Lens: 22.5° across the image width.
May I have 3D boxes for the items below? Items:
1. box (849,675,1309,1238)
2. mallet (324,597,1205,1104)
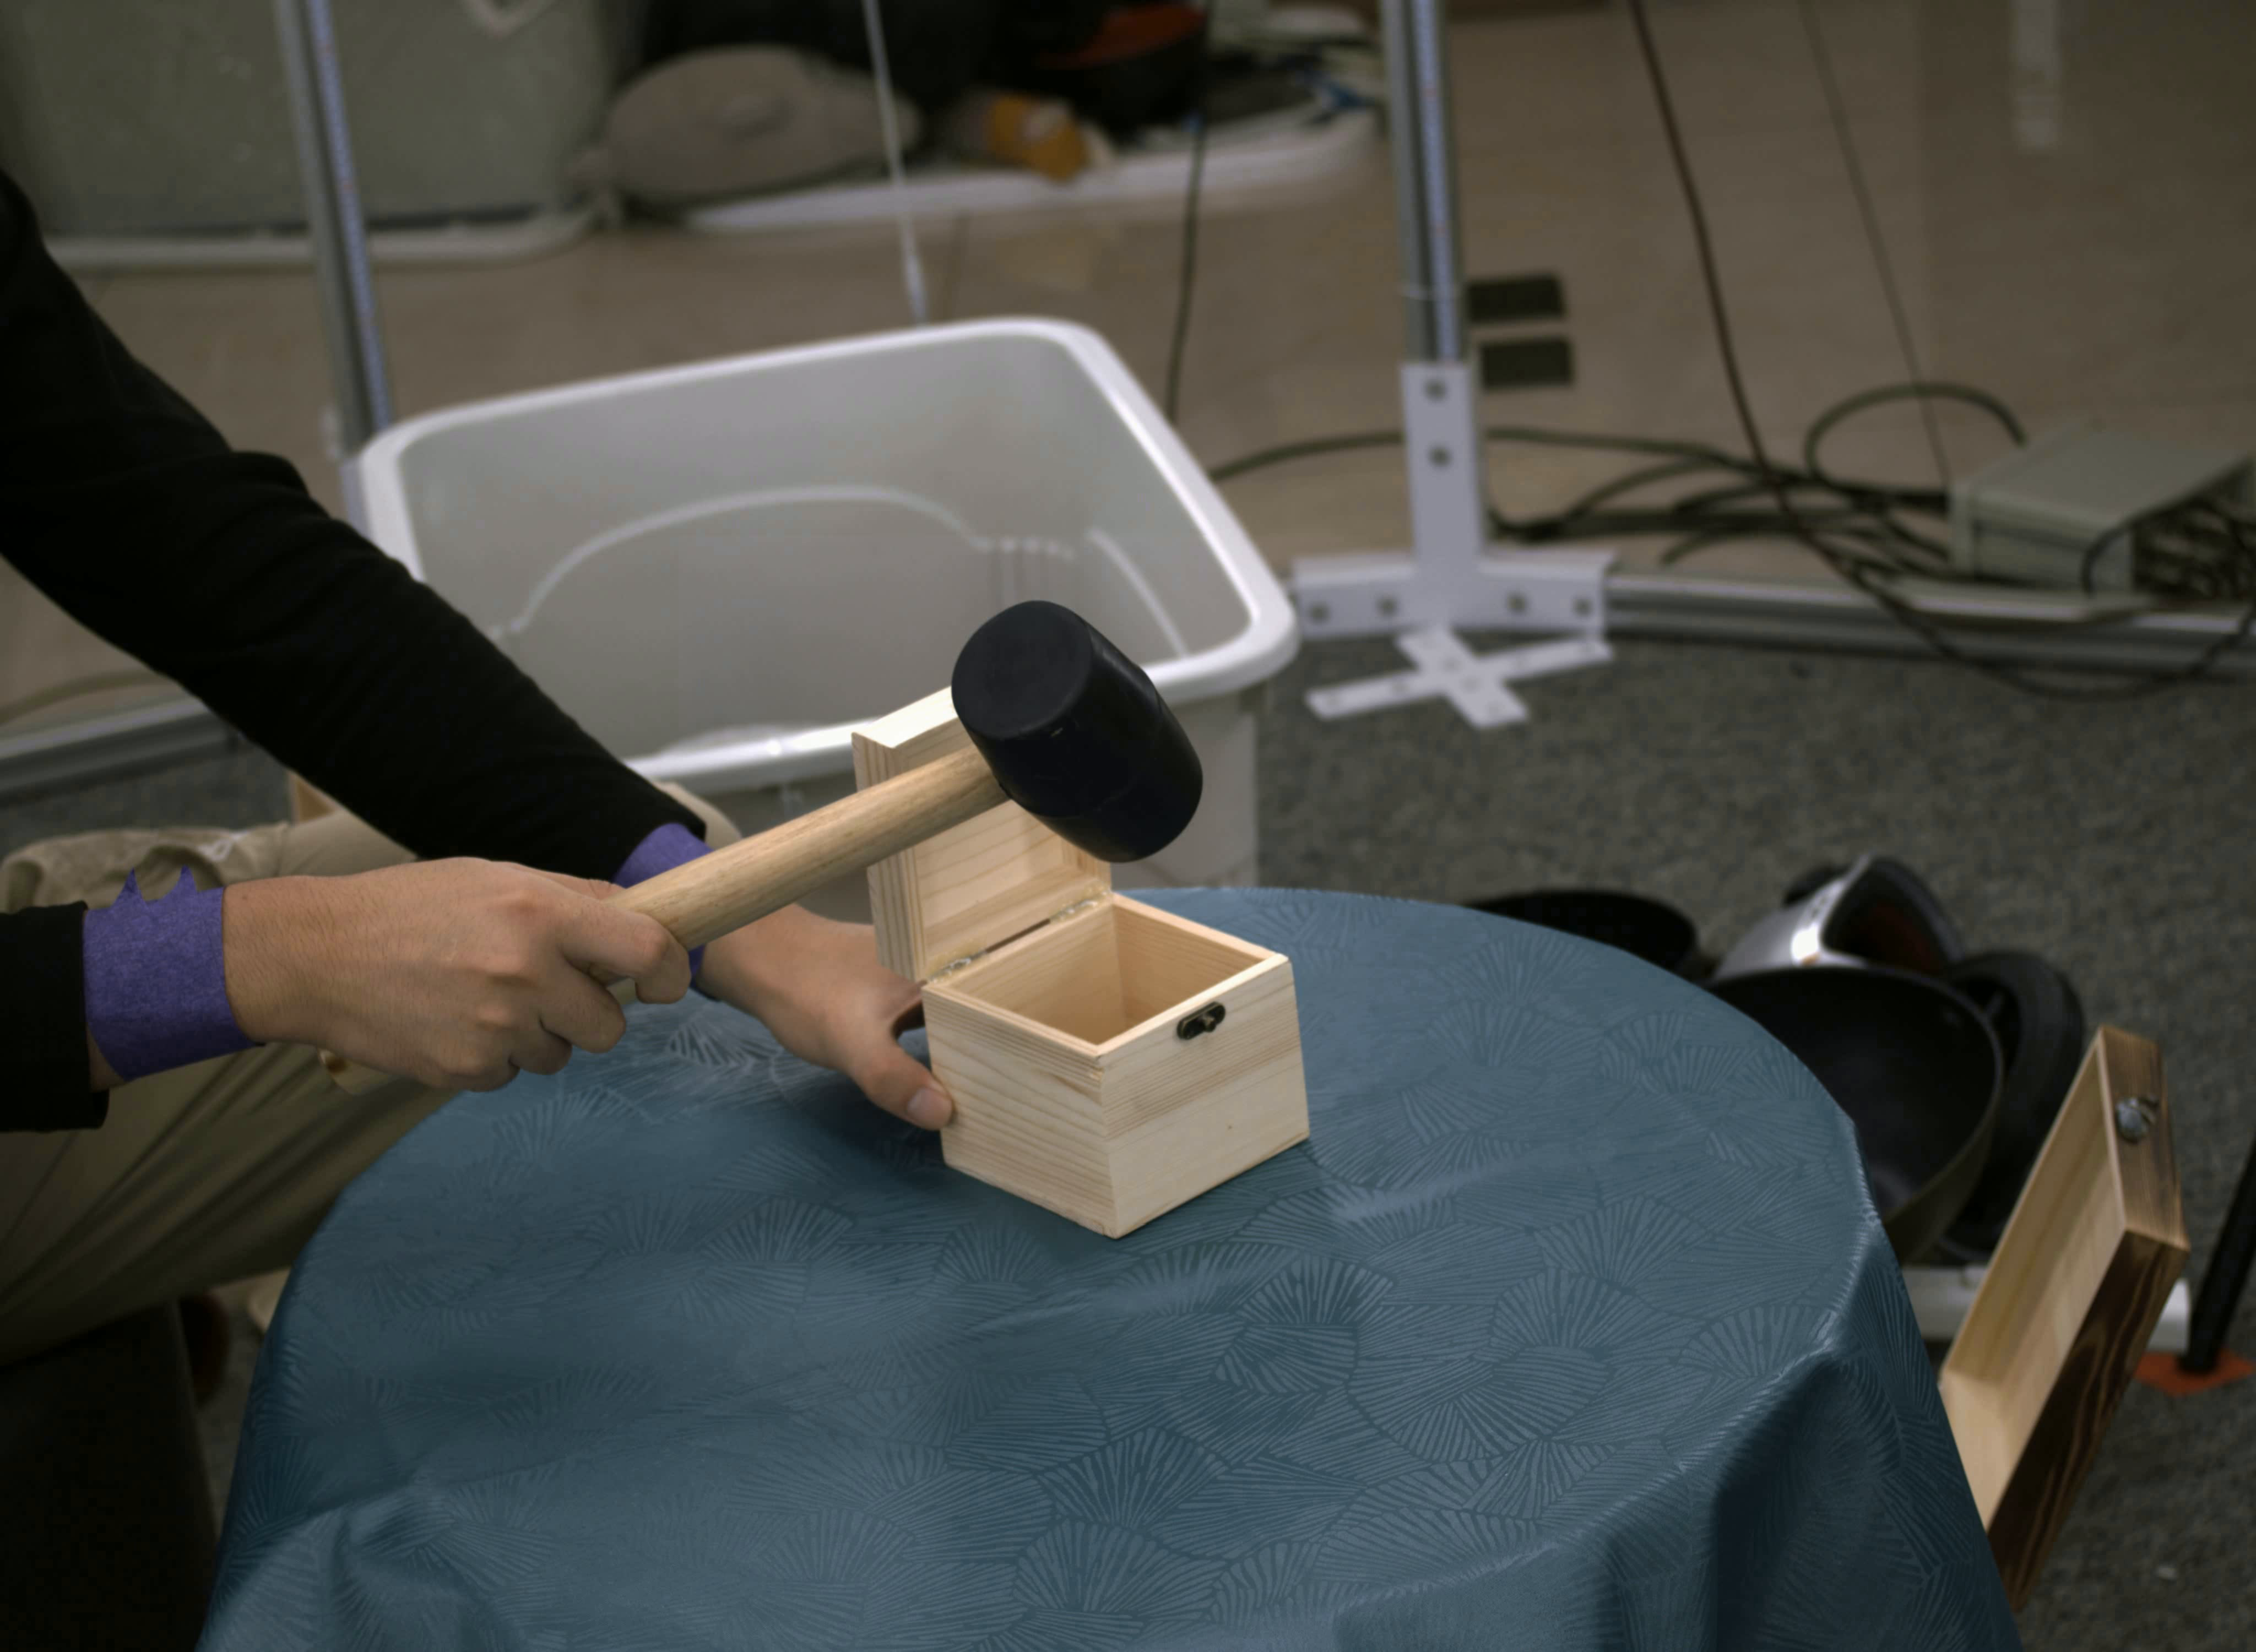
[{"bbox_3d":[-0.017,0.042,2.147,0.102,0.187,0.133,-25,28,-35],"label":"box"},{"bbox_3d":[-0.140,0.015,2.041,0.340,0.103,0.063,-22,51,18],"label":"mallet"}]
